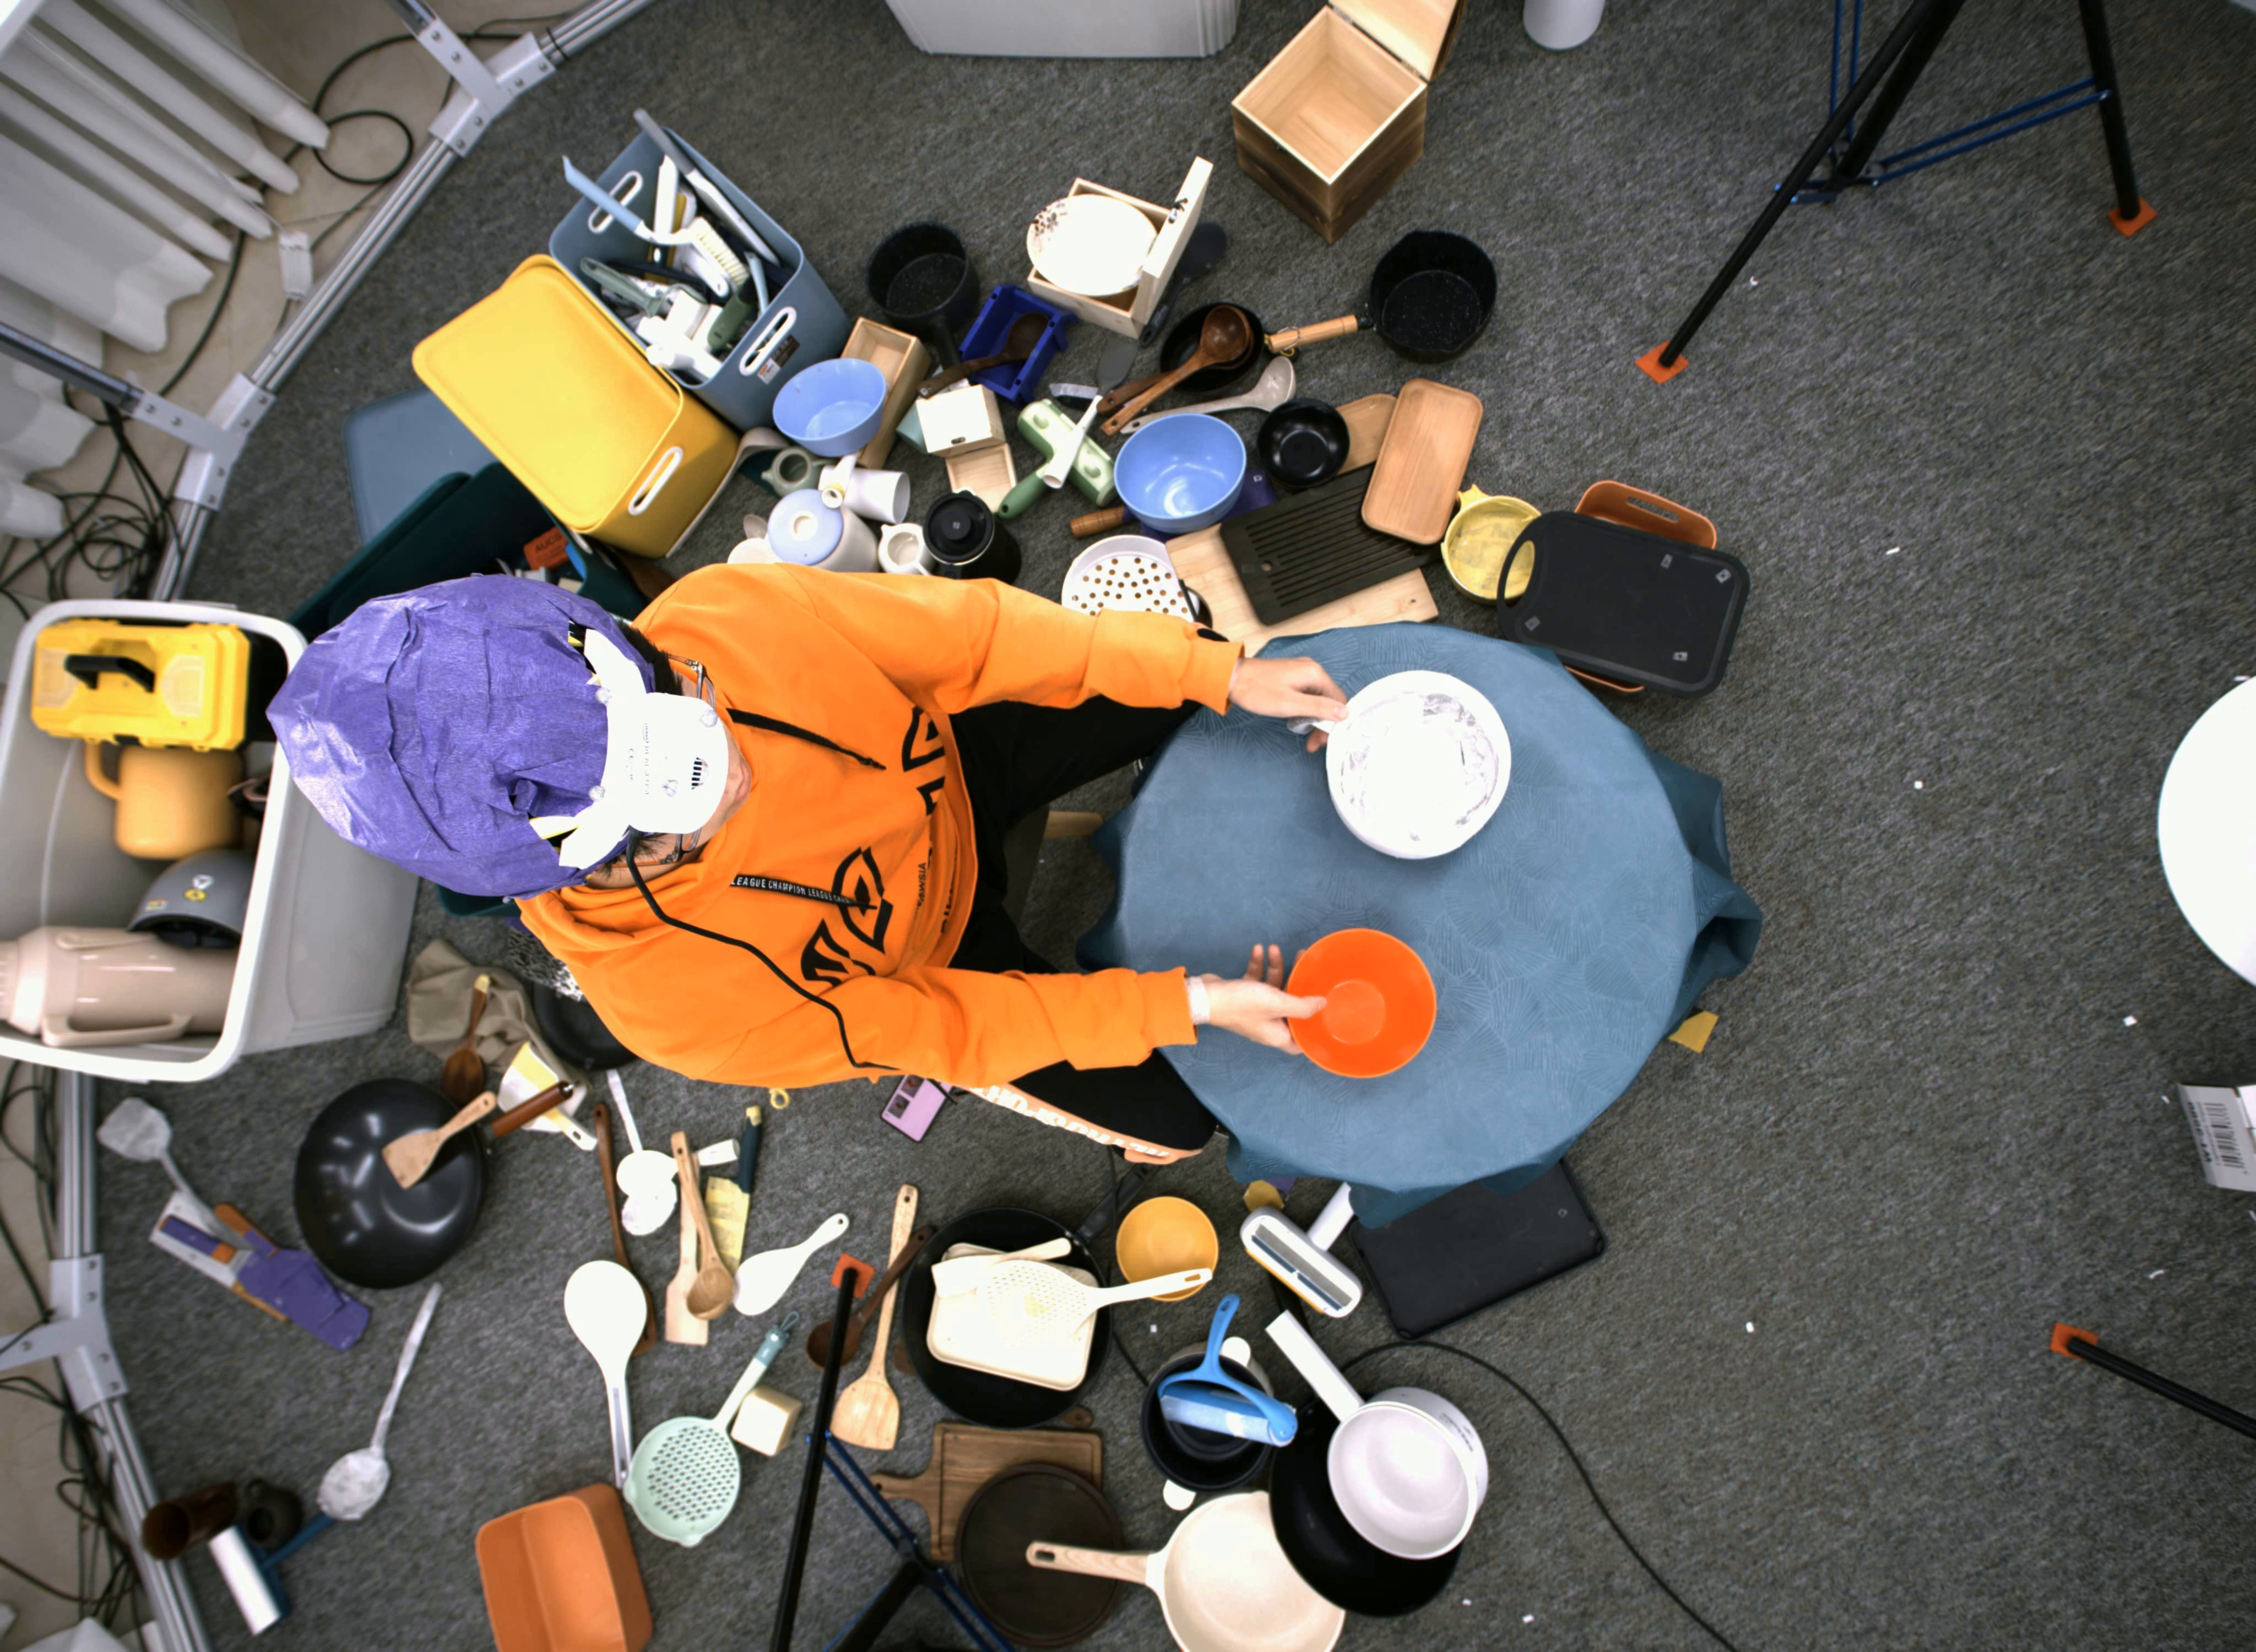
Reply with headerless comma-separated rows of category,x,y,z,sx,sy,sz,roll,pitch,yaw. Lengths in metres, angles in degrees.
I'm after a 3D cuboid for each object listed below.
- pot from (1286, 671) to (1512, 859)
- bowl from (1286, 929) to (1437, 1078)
pot,0.267,-0.071,1.399,0.233,0.137,0.179,27,90,11
bowl,0.237,0.179,1.411,0.148,0.105,0.147,-1,86,10
